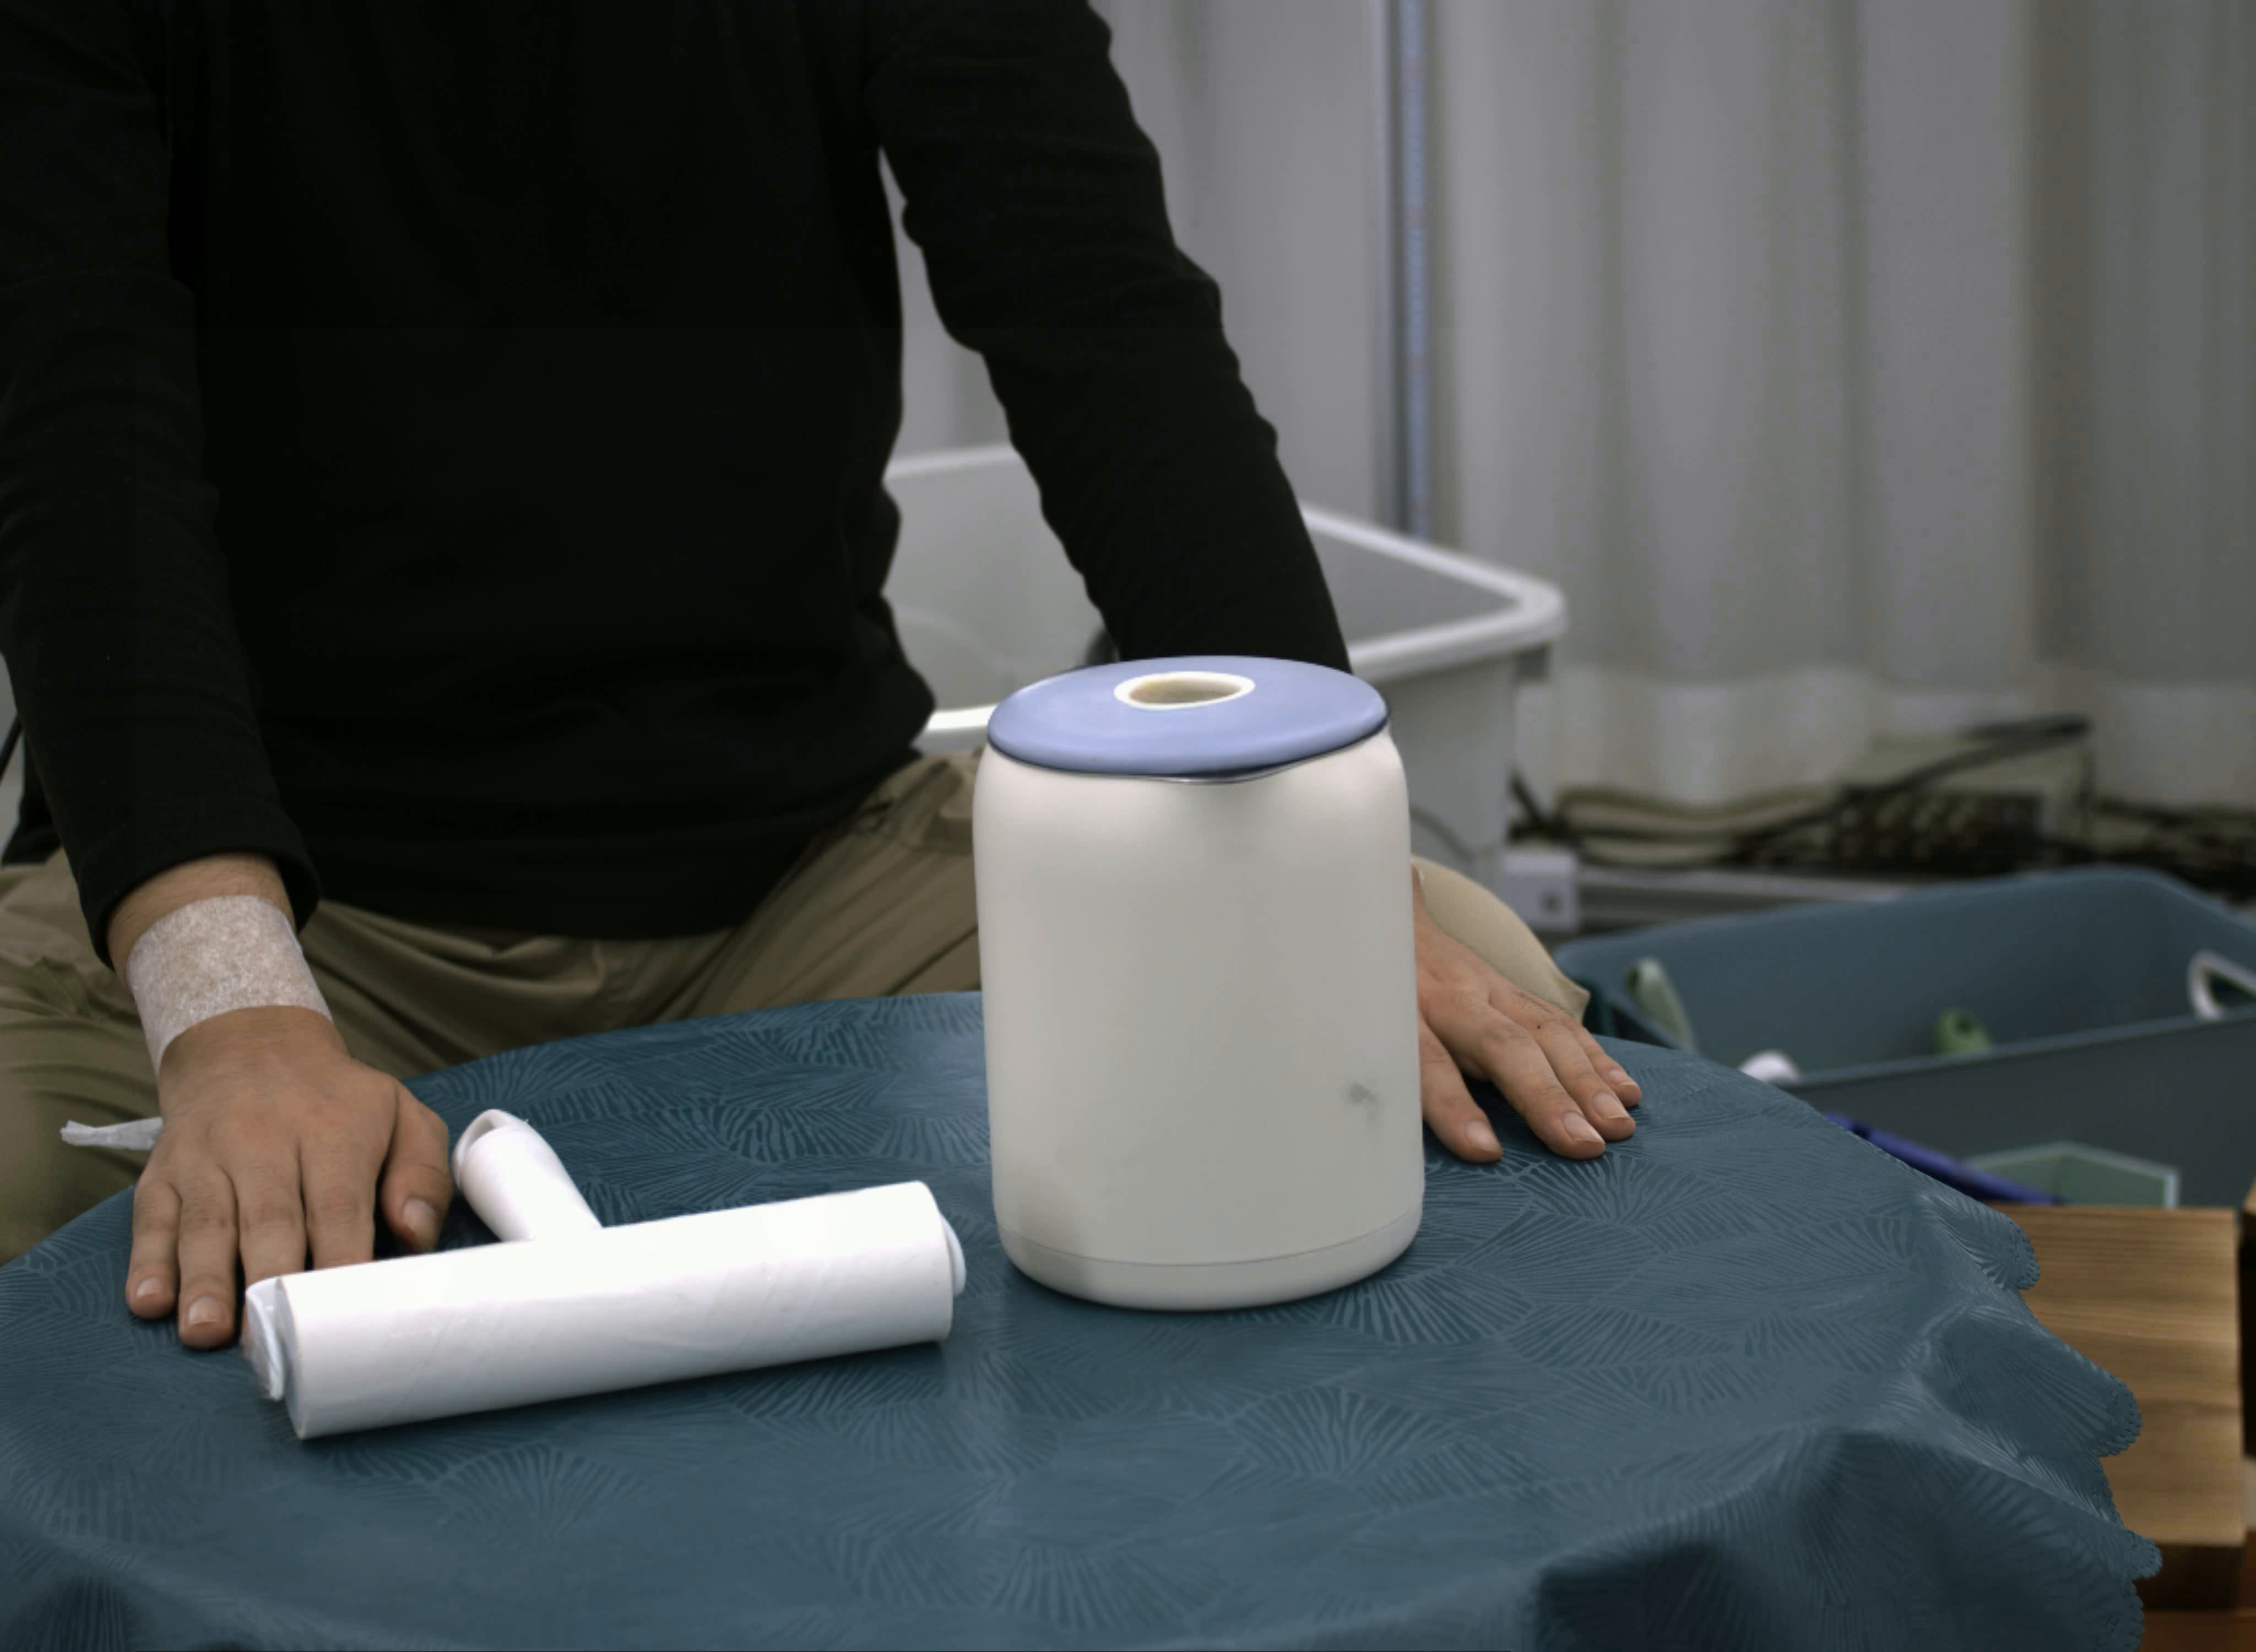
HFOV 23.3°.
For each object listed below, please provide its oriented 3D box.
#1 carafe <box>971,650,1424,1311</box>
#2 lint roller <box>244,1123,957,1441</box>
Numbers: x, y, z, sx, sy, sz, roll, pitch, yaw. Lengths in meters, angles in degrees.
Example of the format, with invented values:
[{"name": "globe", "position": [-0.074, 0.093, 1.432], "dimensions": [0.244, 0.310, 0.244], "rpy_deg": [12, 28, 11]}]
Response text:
[{"name": "carafe", "position": [0.016, 0.039, 1.662], "dimensions": [0.131, 0.182, 0.192], "rpy_deg": [-5, 12, -12]}, {"name": "lint roller", "position": [-0.175, 0.119, 1.649], "dimensions": [0.202, 0.048, 0.227], "rpy_deg": [-9, 15, -17]}]
